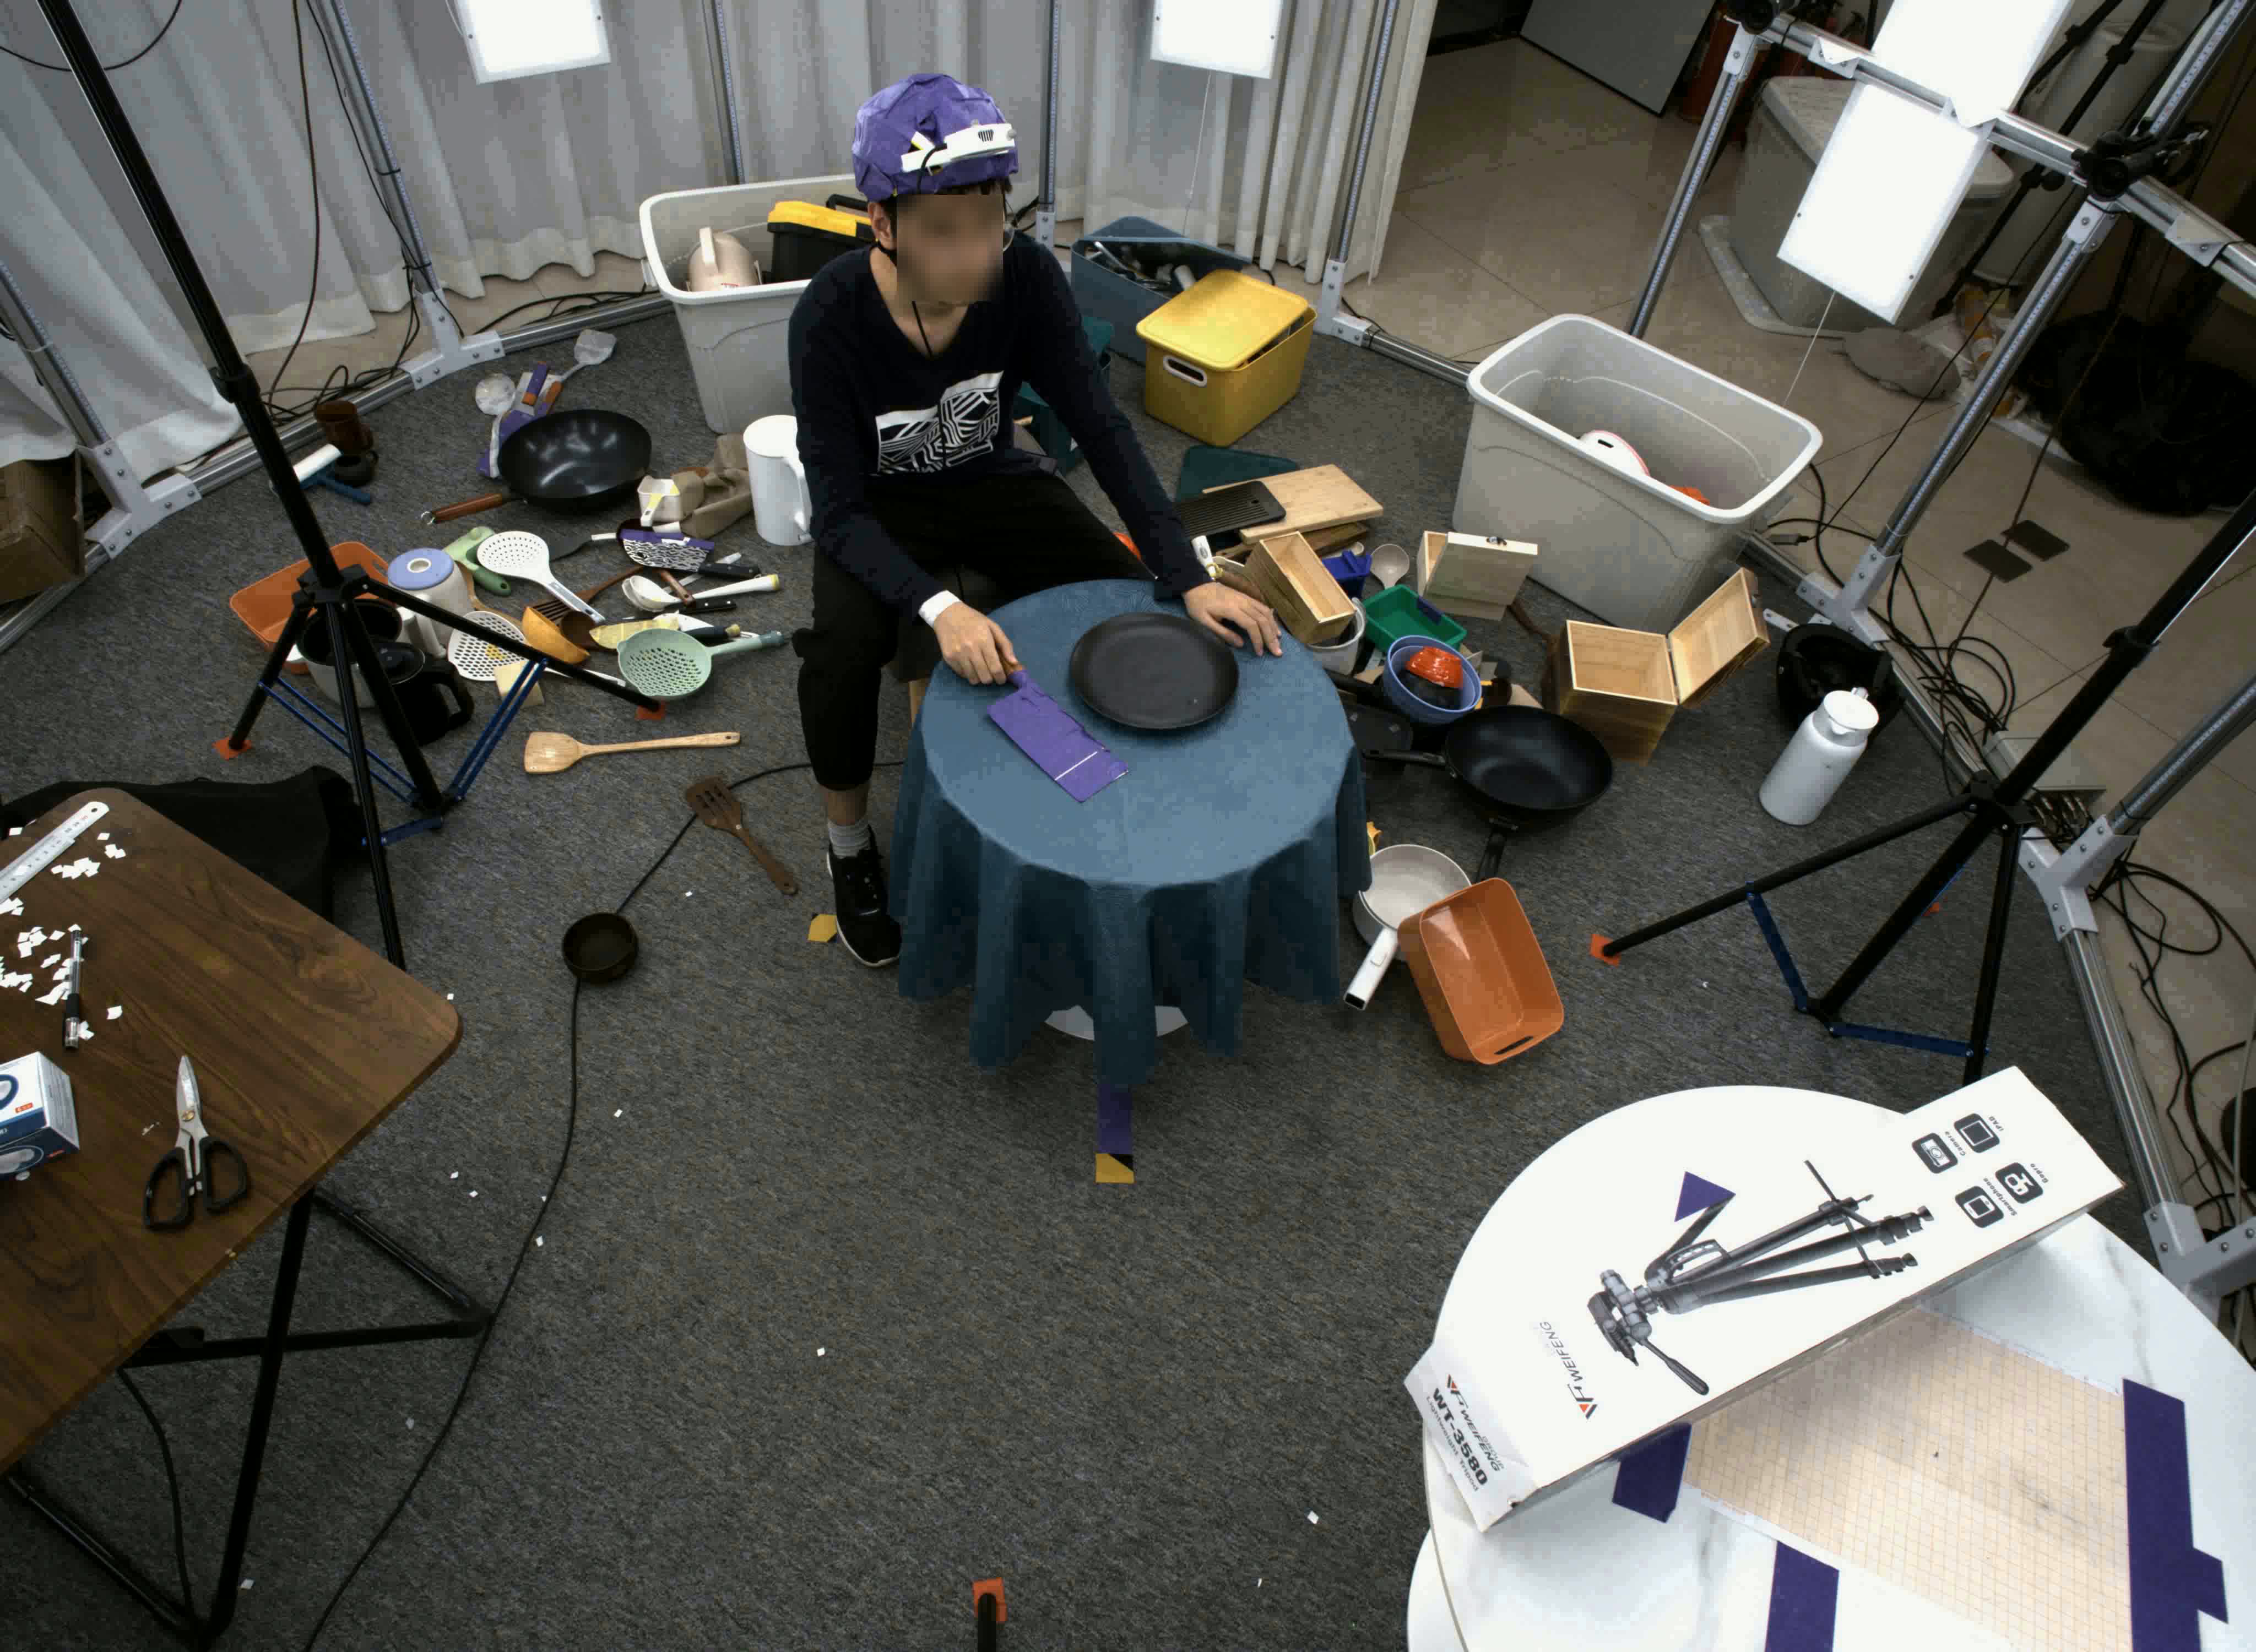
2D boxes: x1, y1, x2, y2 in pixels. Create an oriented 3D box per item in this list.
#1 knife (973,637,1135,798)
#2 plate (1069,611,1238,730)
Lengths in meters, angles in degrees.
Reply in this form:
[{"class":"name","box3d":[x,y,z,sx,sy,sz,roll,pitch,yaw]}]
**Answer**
[{"class":"knife","box3d":[-0.130,-0.154,1.774,0.104,0.031,0.320,-32,59,-28]},{"class":"plate","box3d":[0.037,-0.221,1.847,0.244,0.023,0.250,2,49,-2]}]
